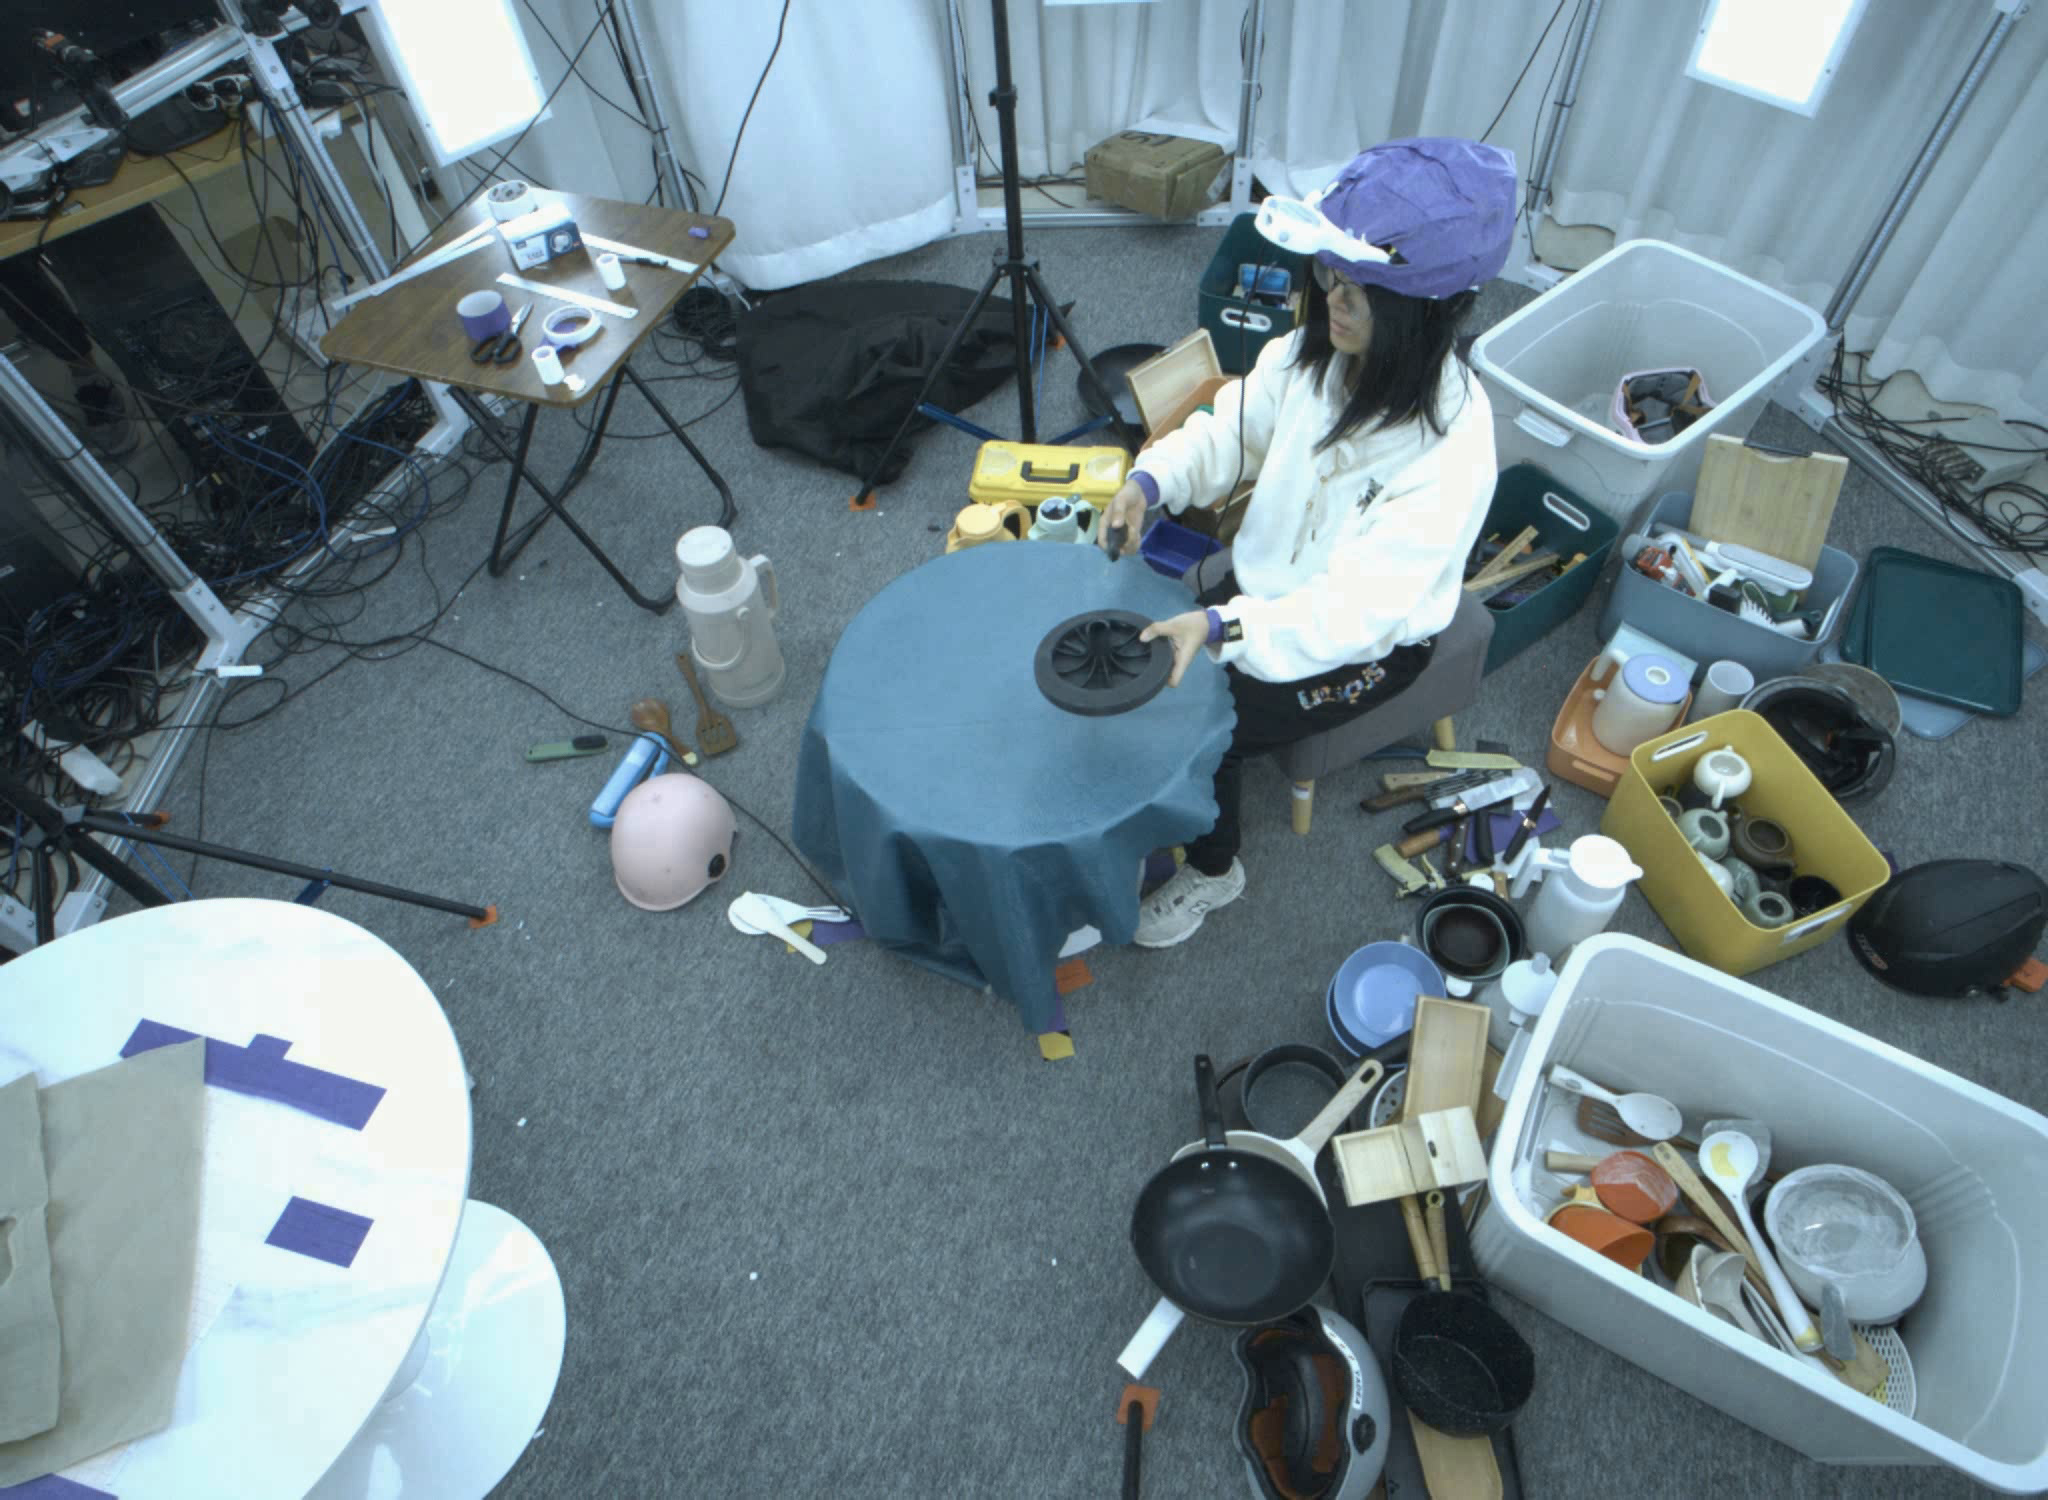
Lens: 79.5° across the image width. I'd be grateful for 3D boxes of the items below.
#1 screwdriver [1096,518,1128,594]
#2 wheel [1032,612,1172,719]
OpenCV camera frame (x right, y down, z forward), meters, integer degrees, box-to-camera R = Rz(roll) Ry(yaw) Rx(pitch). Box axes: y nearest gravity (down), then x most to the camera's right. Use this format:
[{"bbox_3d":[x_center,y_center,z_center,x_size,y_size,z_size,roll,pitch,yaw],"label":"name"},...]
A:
[{"bbox_3d":[0.122,-0.274,1.752,0.031,0.032,0.197,9,44,9],"label":"screwdriver"},{"bbox_3d":[0.101,-0.130,1.642,0.187,0.080,0.187,7,52,18],"label":"wheel"}]
